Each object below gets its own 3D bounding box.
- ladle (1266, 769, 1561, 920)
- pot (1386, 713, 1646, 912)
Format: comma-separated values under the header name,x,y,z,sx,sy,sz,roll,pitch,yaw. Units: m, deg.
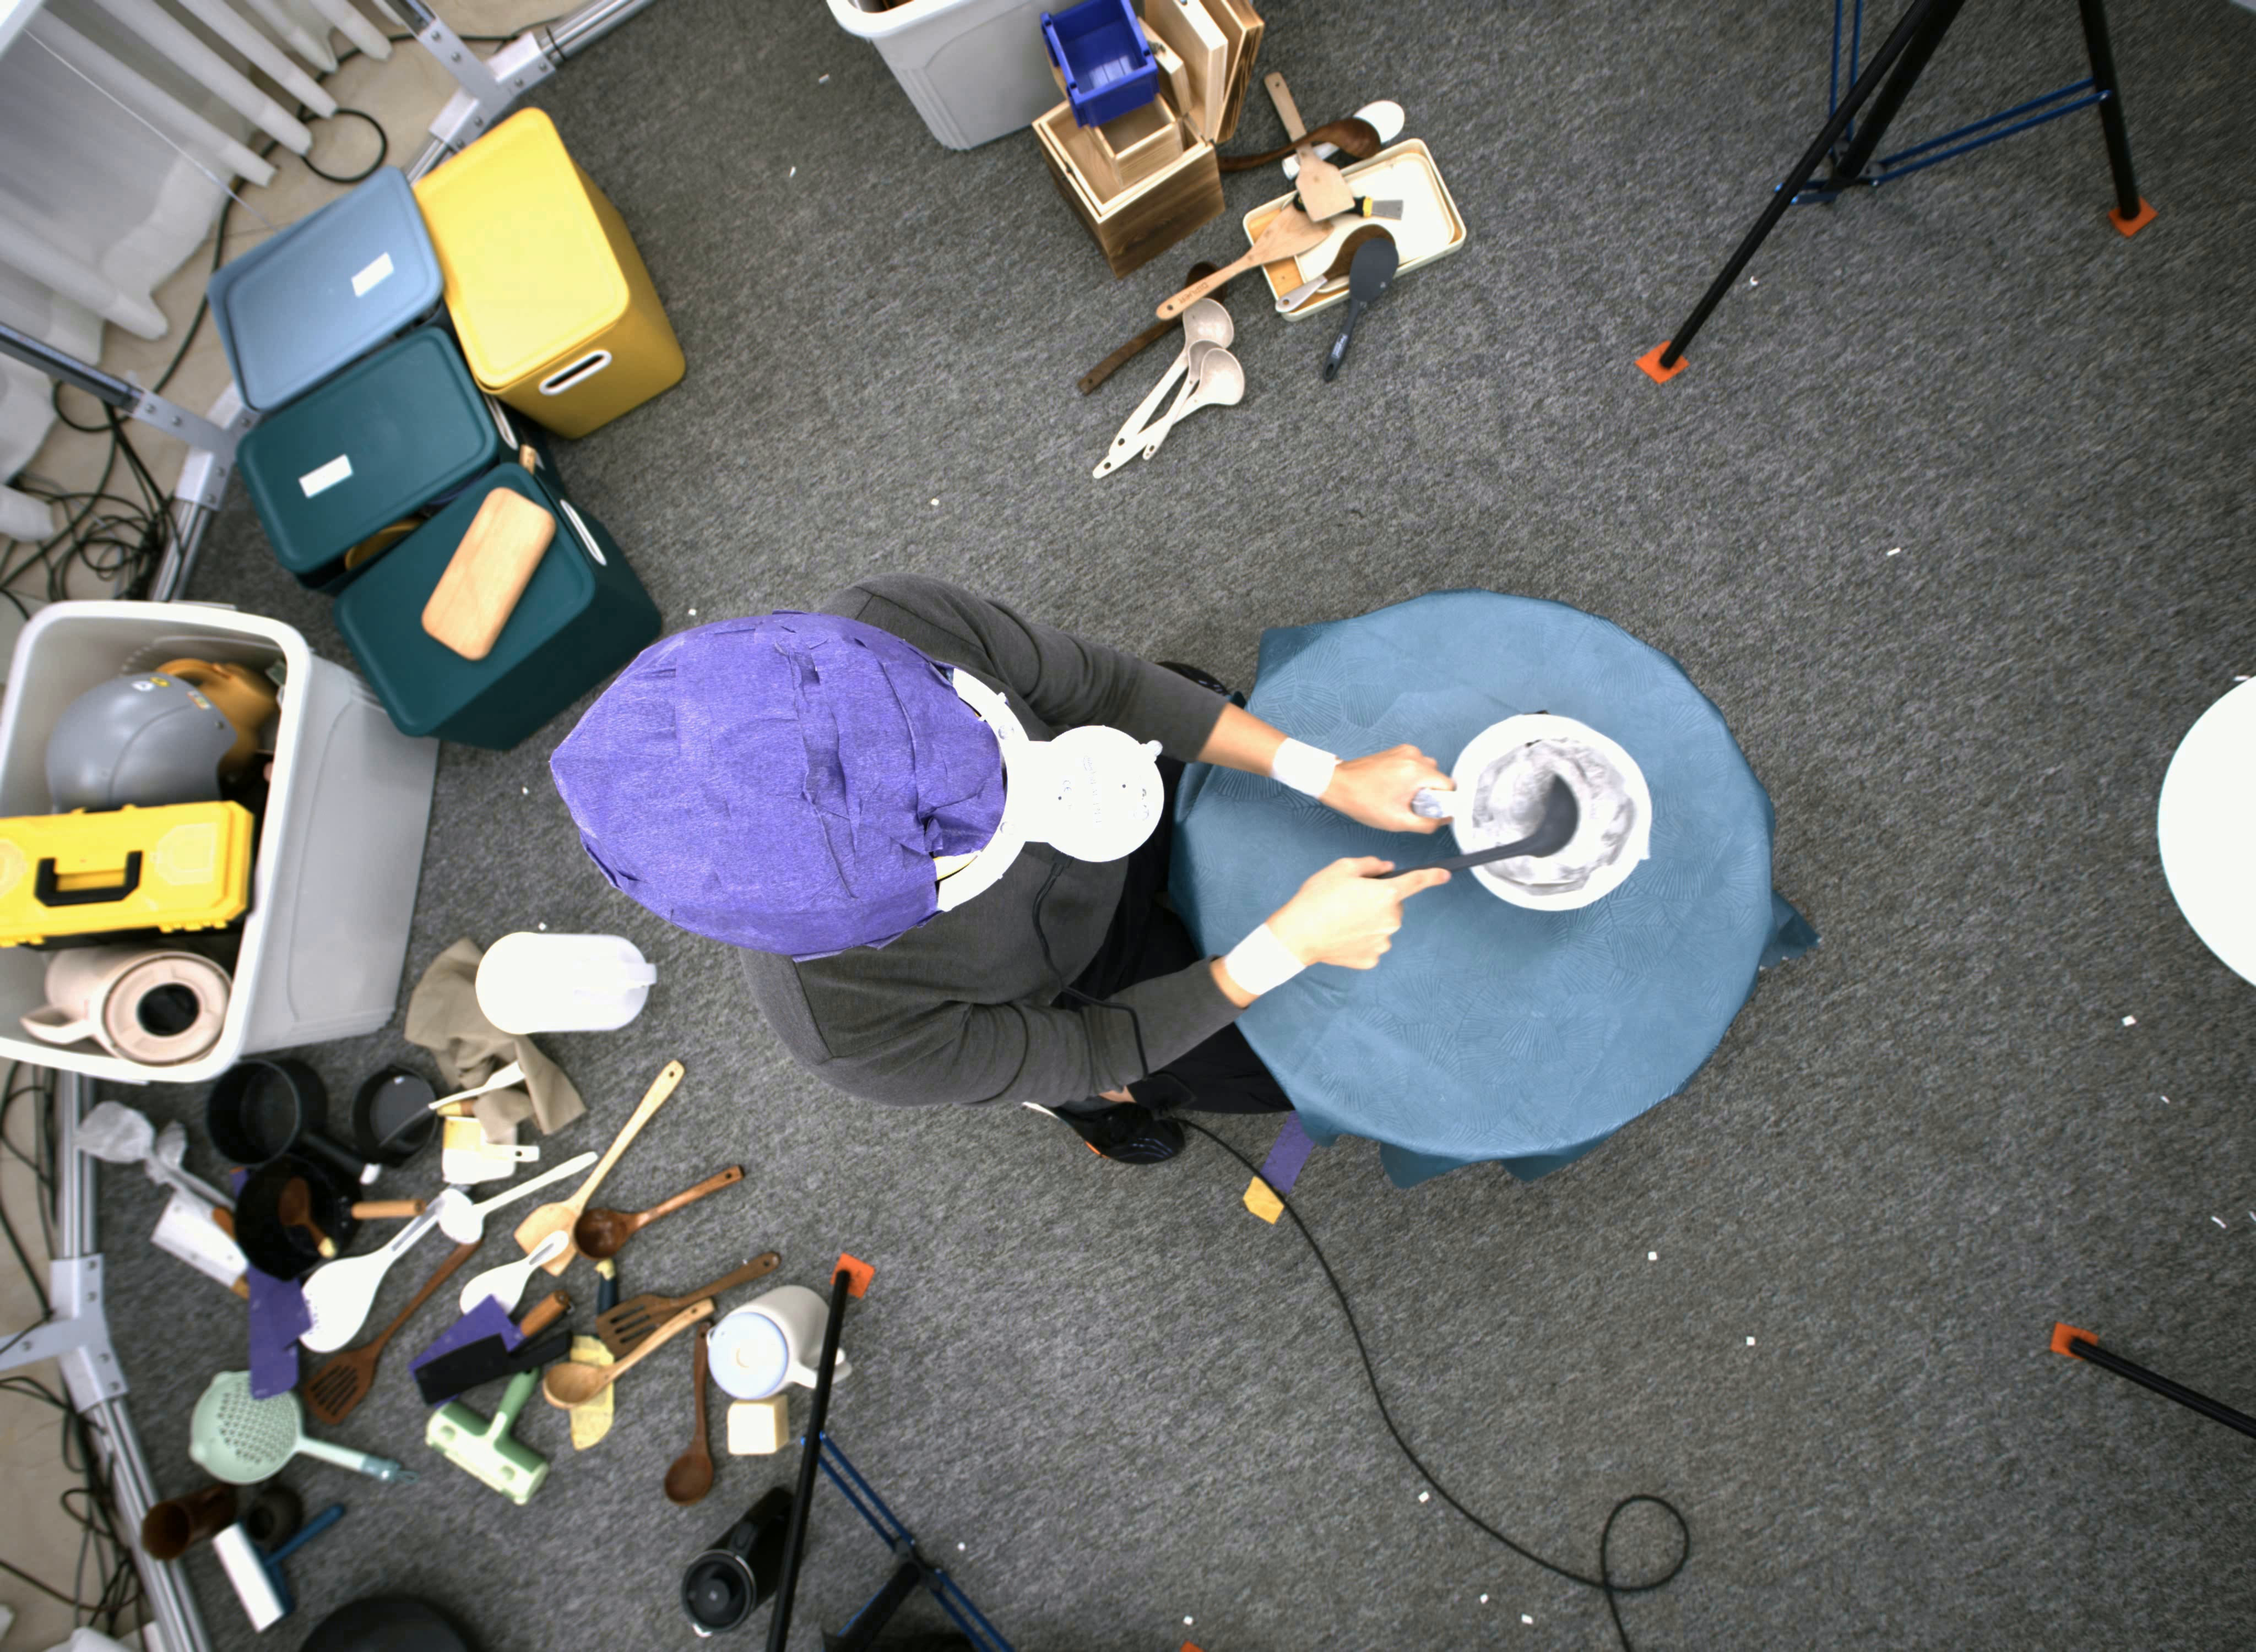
name,x,y,z,sx,sy,sz,roll,pitch,yaw
ladle,0.267,0.024,1.296,0.313,0.062,0.088,-17,127,-8
pot,0.371,-0.021,1.338,0.234,0.135,0.180,4,101,8
